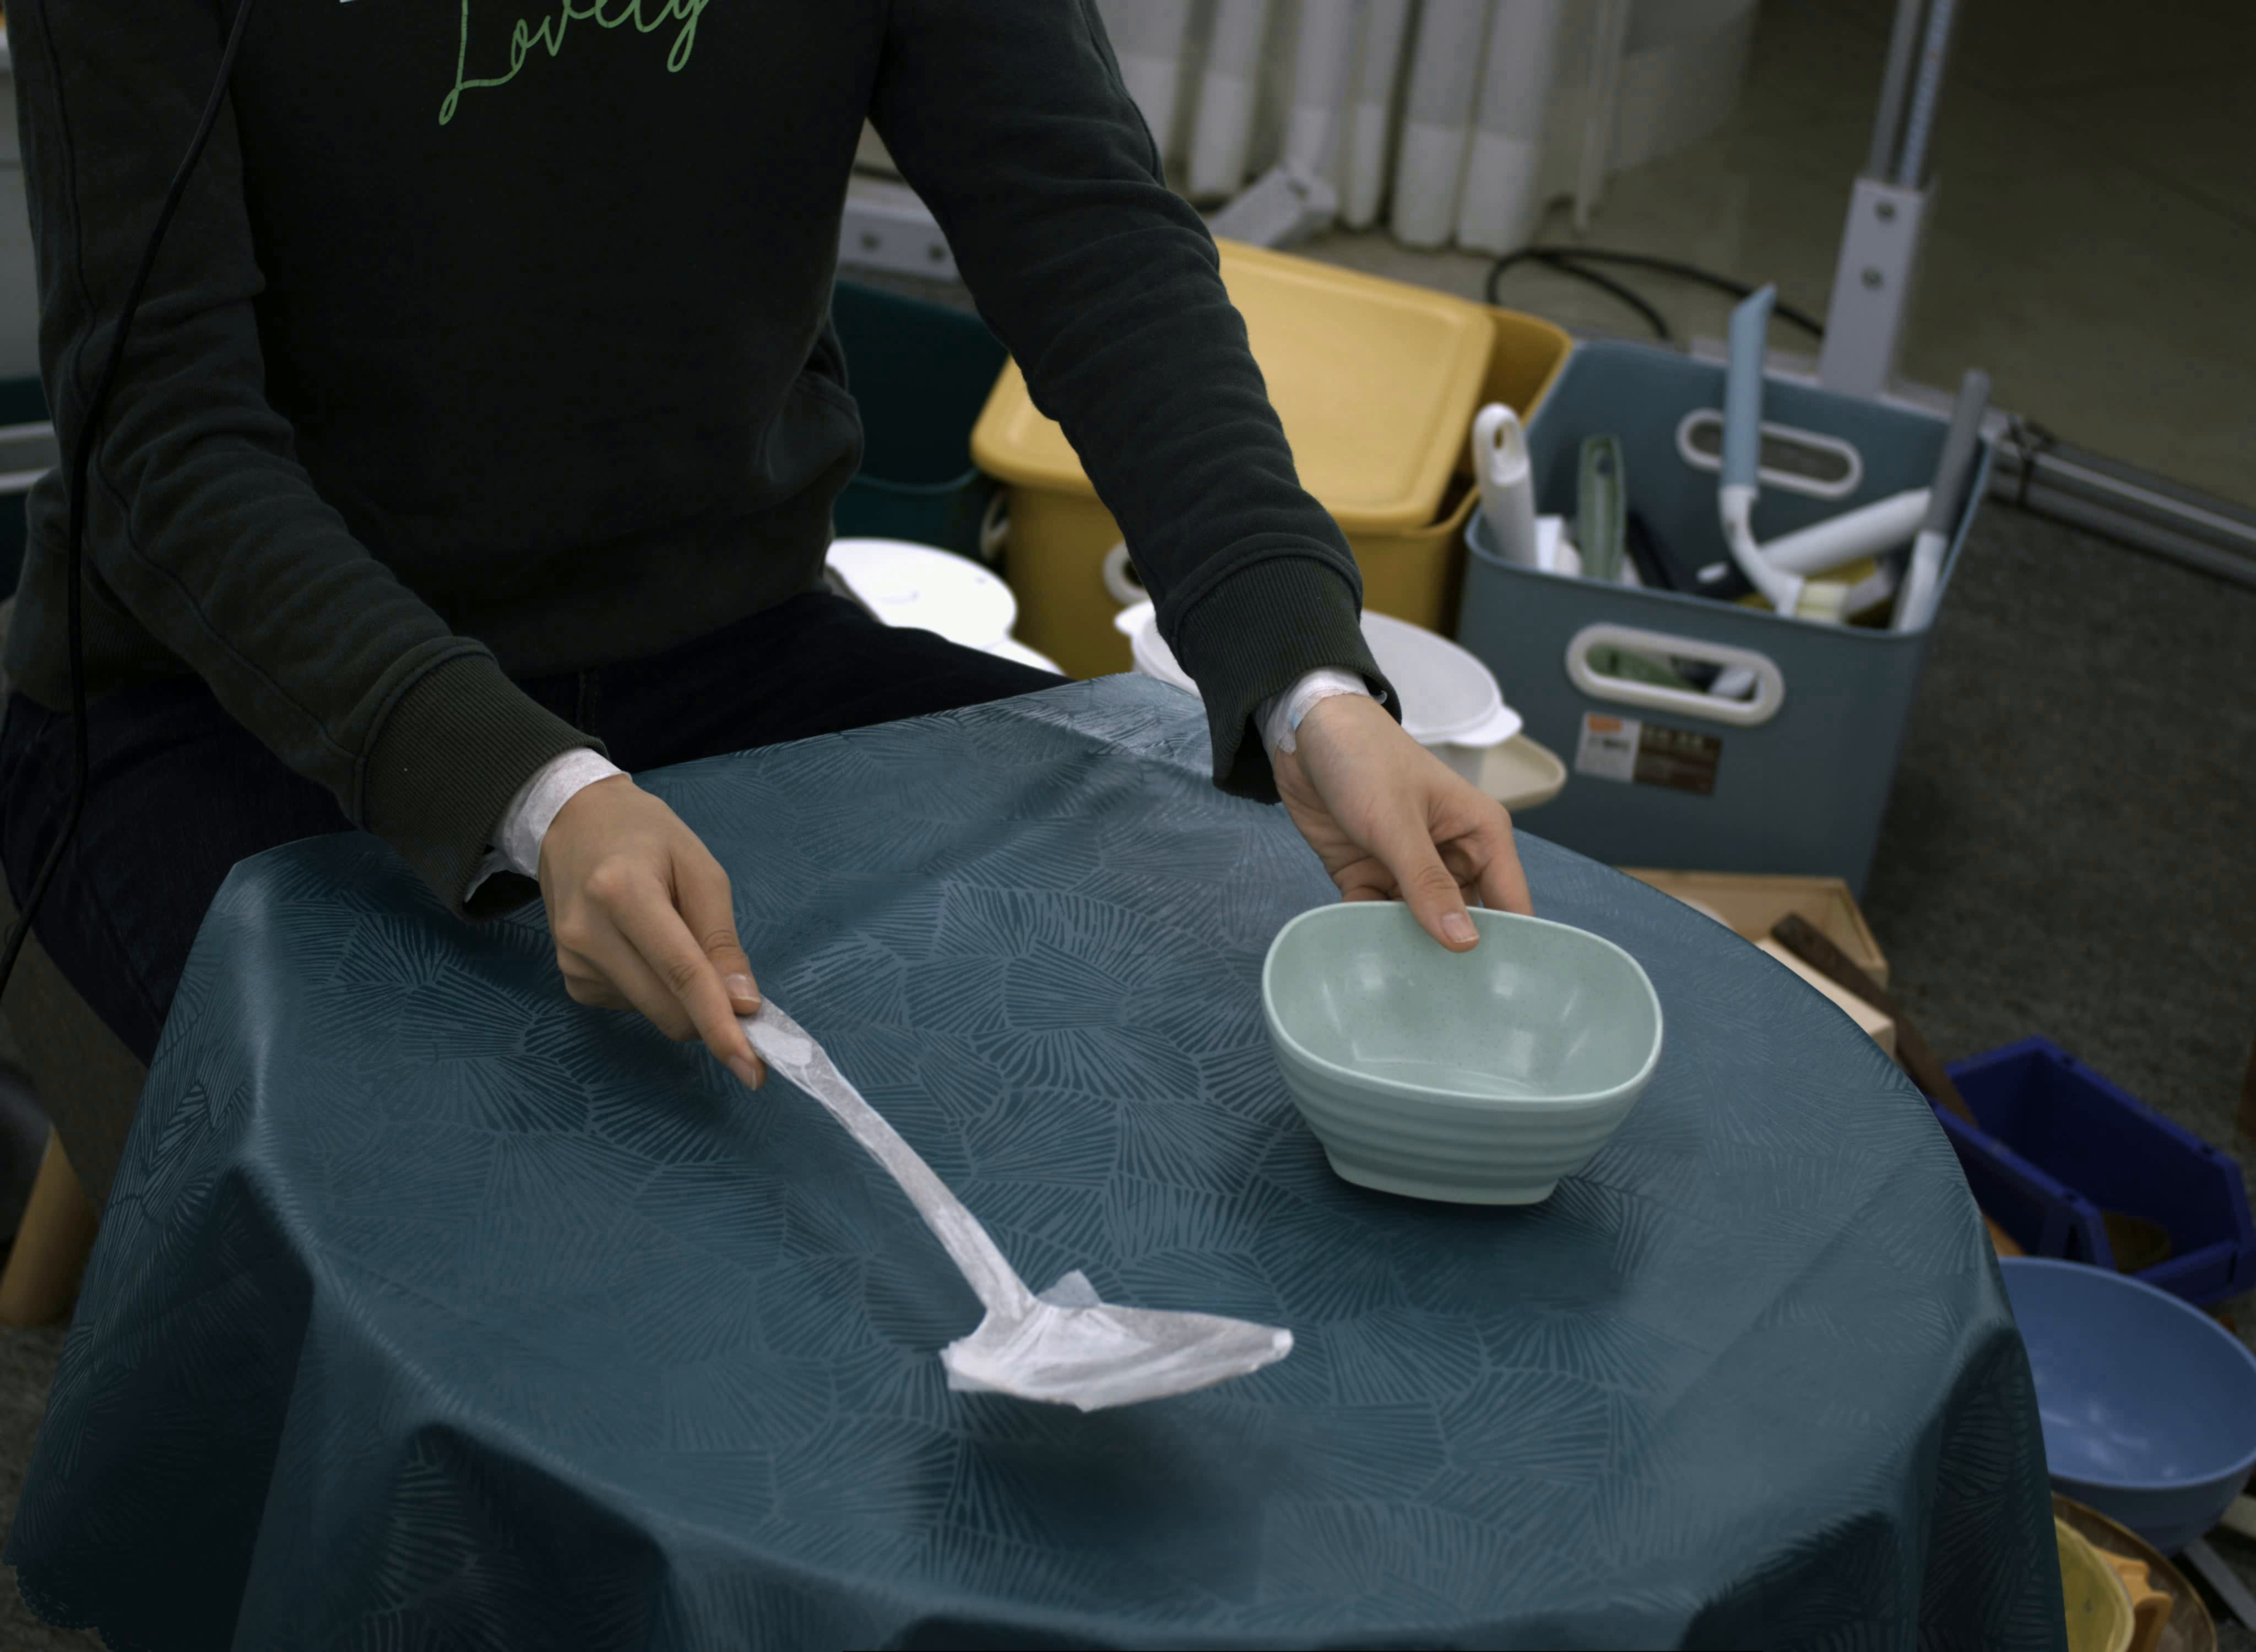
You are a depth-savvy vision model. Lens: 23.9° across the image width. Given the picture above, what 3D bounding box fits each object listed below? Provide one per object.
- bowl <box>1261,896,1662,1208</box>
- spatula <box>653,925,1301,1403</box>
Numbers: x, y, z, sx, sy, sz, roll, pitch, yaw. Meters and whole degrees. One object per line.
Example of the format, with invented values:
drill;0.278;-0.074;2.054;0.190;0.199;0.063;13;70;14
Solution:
bowl;0.110;0.084;1.829;0.151;0.058;0.152;7;27;-4
spatula;-0.074;0.102;1.734;0.098;0.044;0.368;-12;33;-29
